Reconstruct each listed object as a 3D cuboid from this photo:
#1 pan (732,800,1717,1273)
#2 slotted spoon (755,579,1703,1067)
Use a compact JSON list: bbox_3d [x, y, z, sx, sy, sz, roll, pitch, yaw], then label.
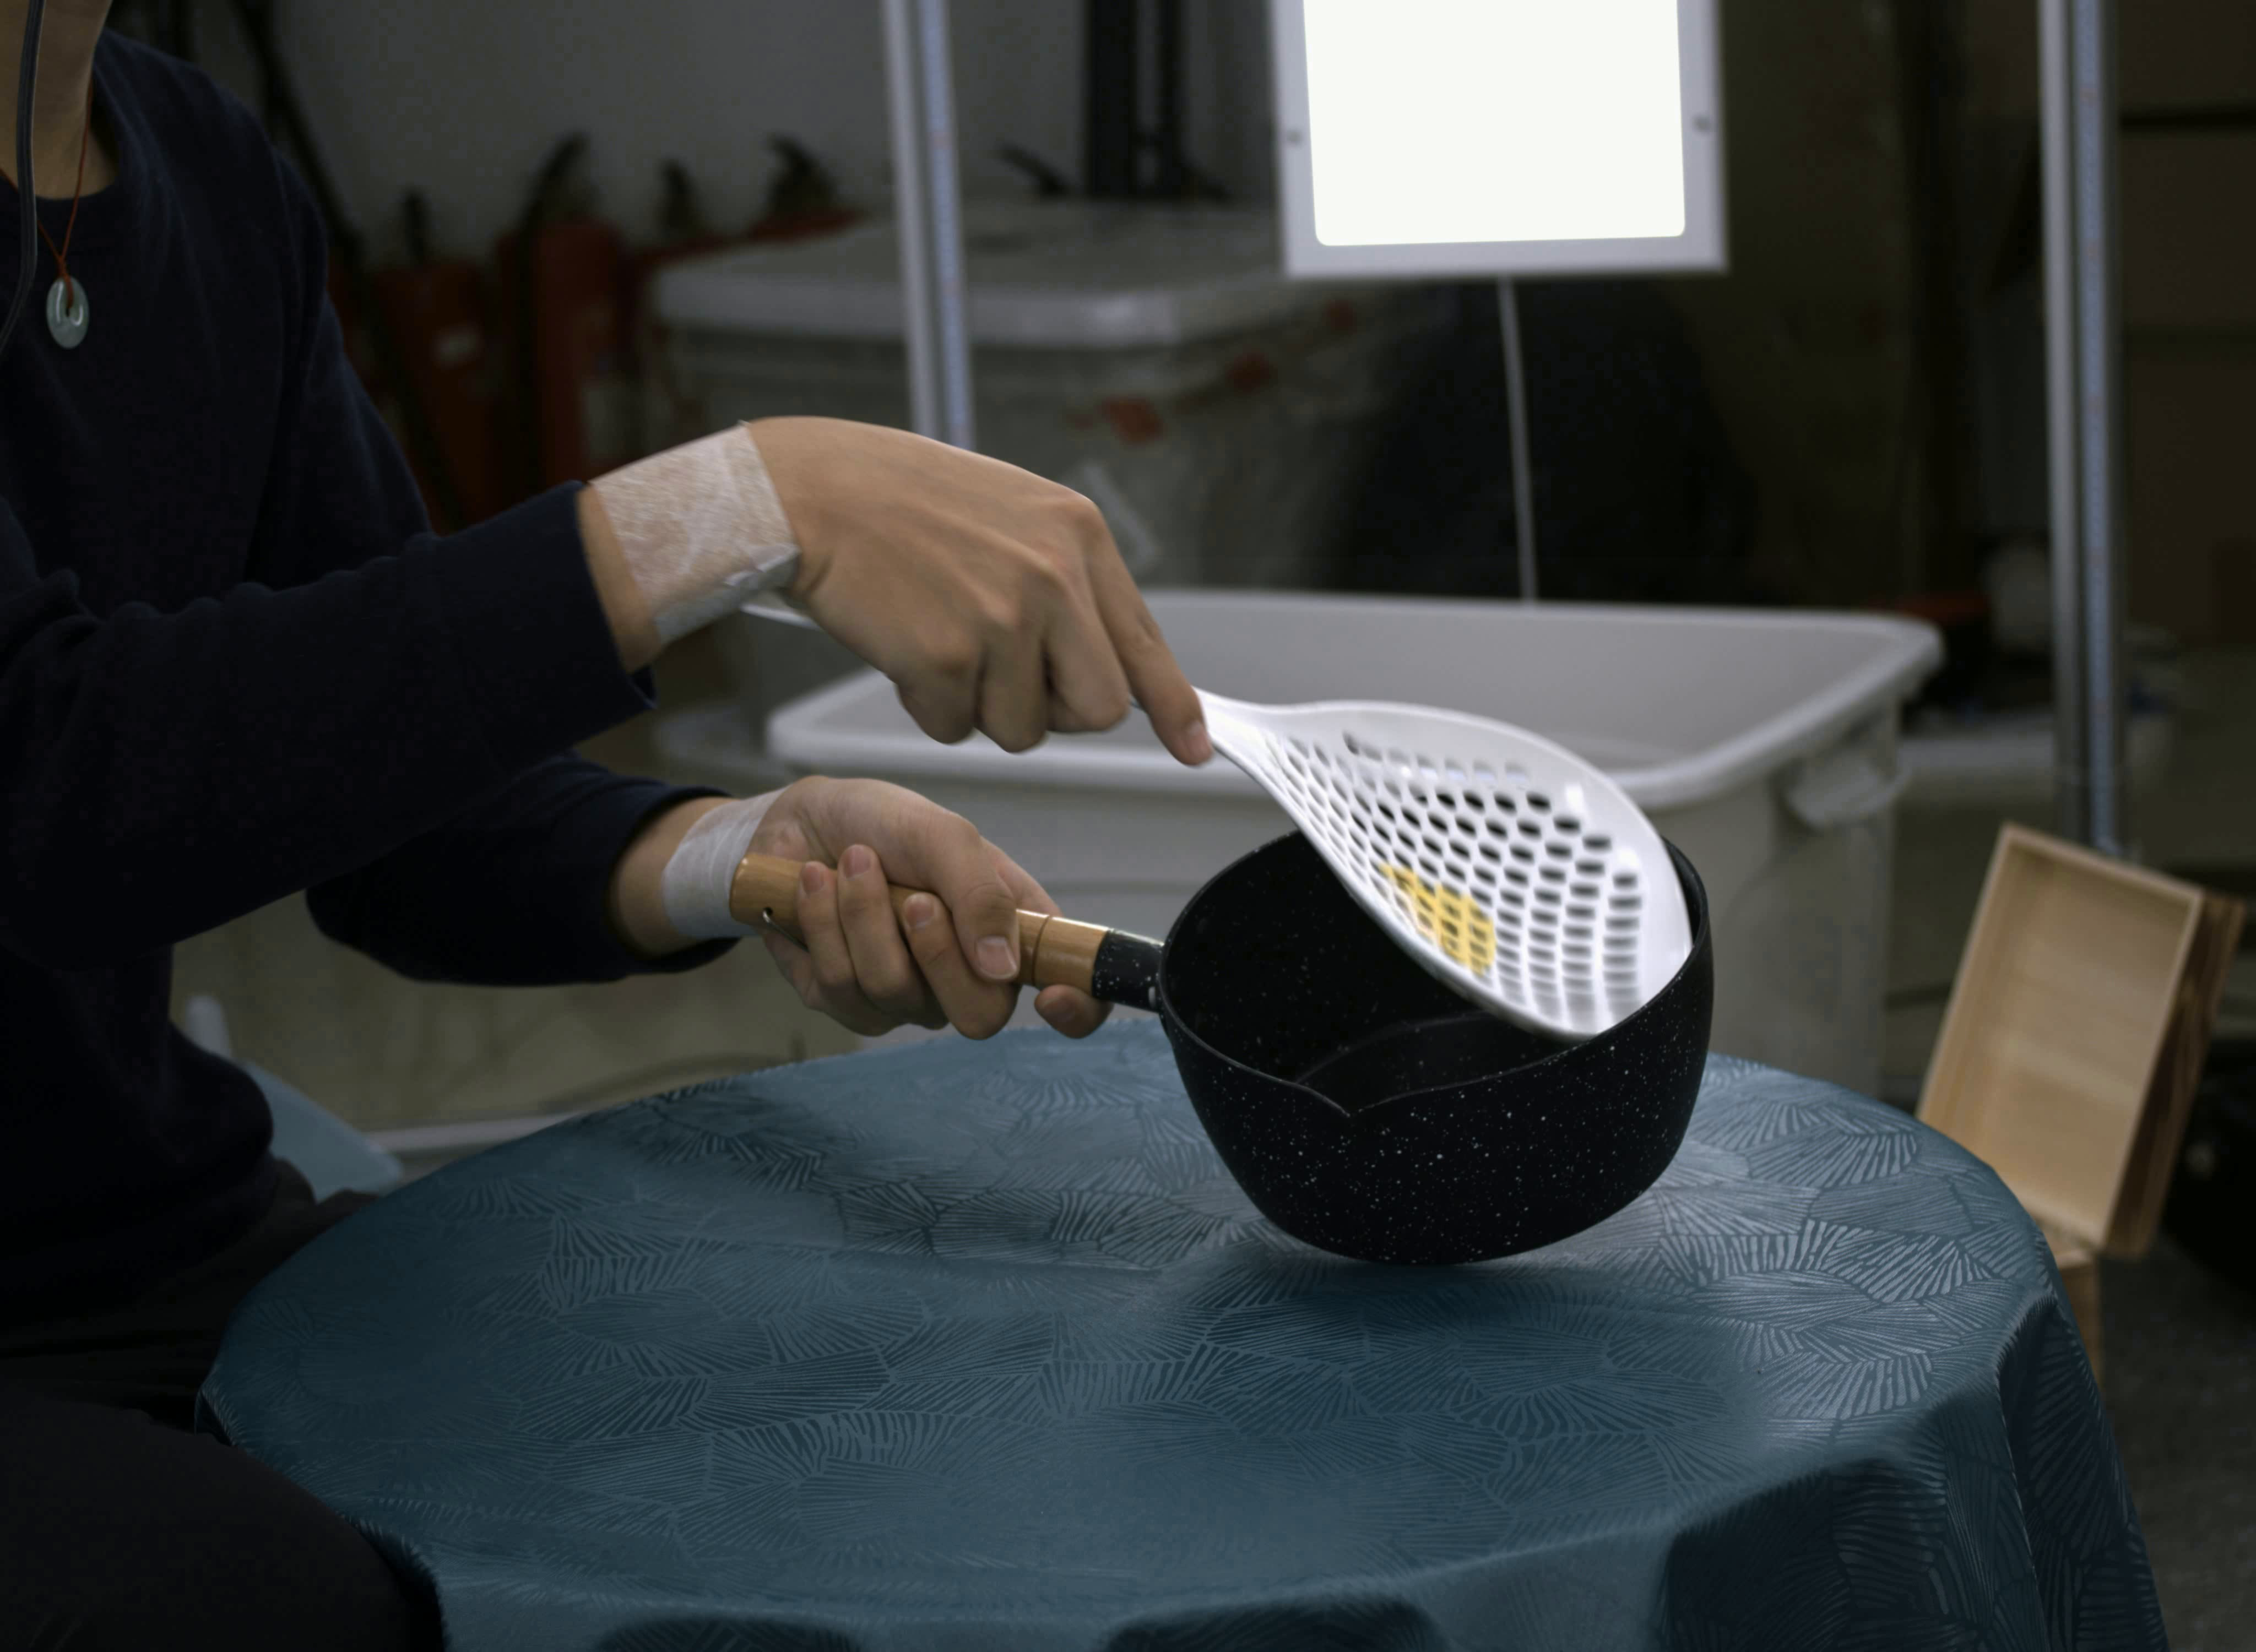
[{"bbox_3d":[0.030,0.060,1.856,0.347,0.108,0.204,1,33,20],"label":"pan"},{"bbox_3d":[0.038,-0.016,1.761,0.342,0.051,0.136,28,40,-23],"label":"slotted spoon"}]
